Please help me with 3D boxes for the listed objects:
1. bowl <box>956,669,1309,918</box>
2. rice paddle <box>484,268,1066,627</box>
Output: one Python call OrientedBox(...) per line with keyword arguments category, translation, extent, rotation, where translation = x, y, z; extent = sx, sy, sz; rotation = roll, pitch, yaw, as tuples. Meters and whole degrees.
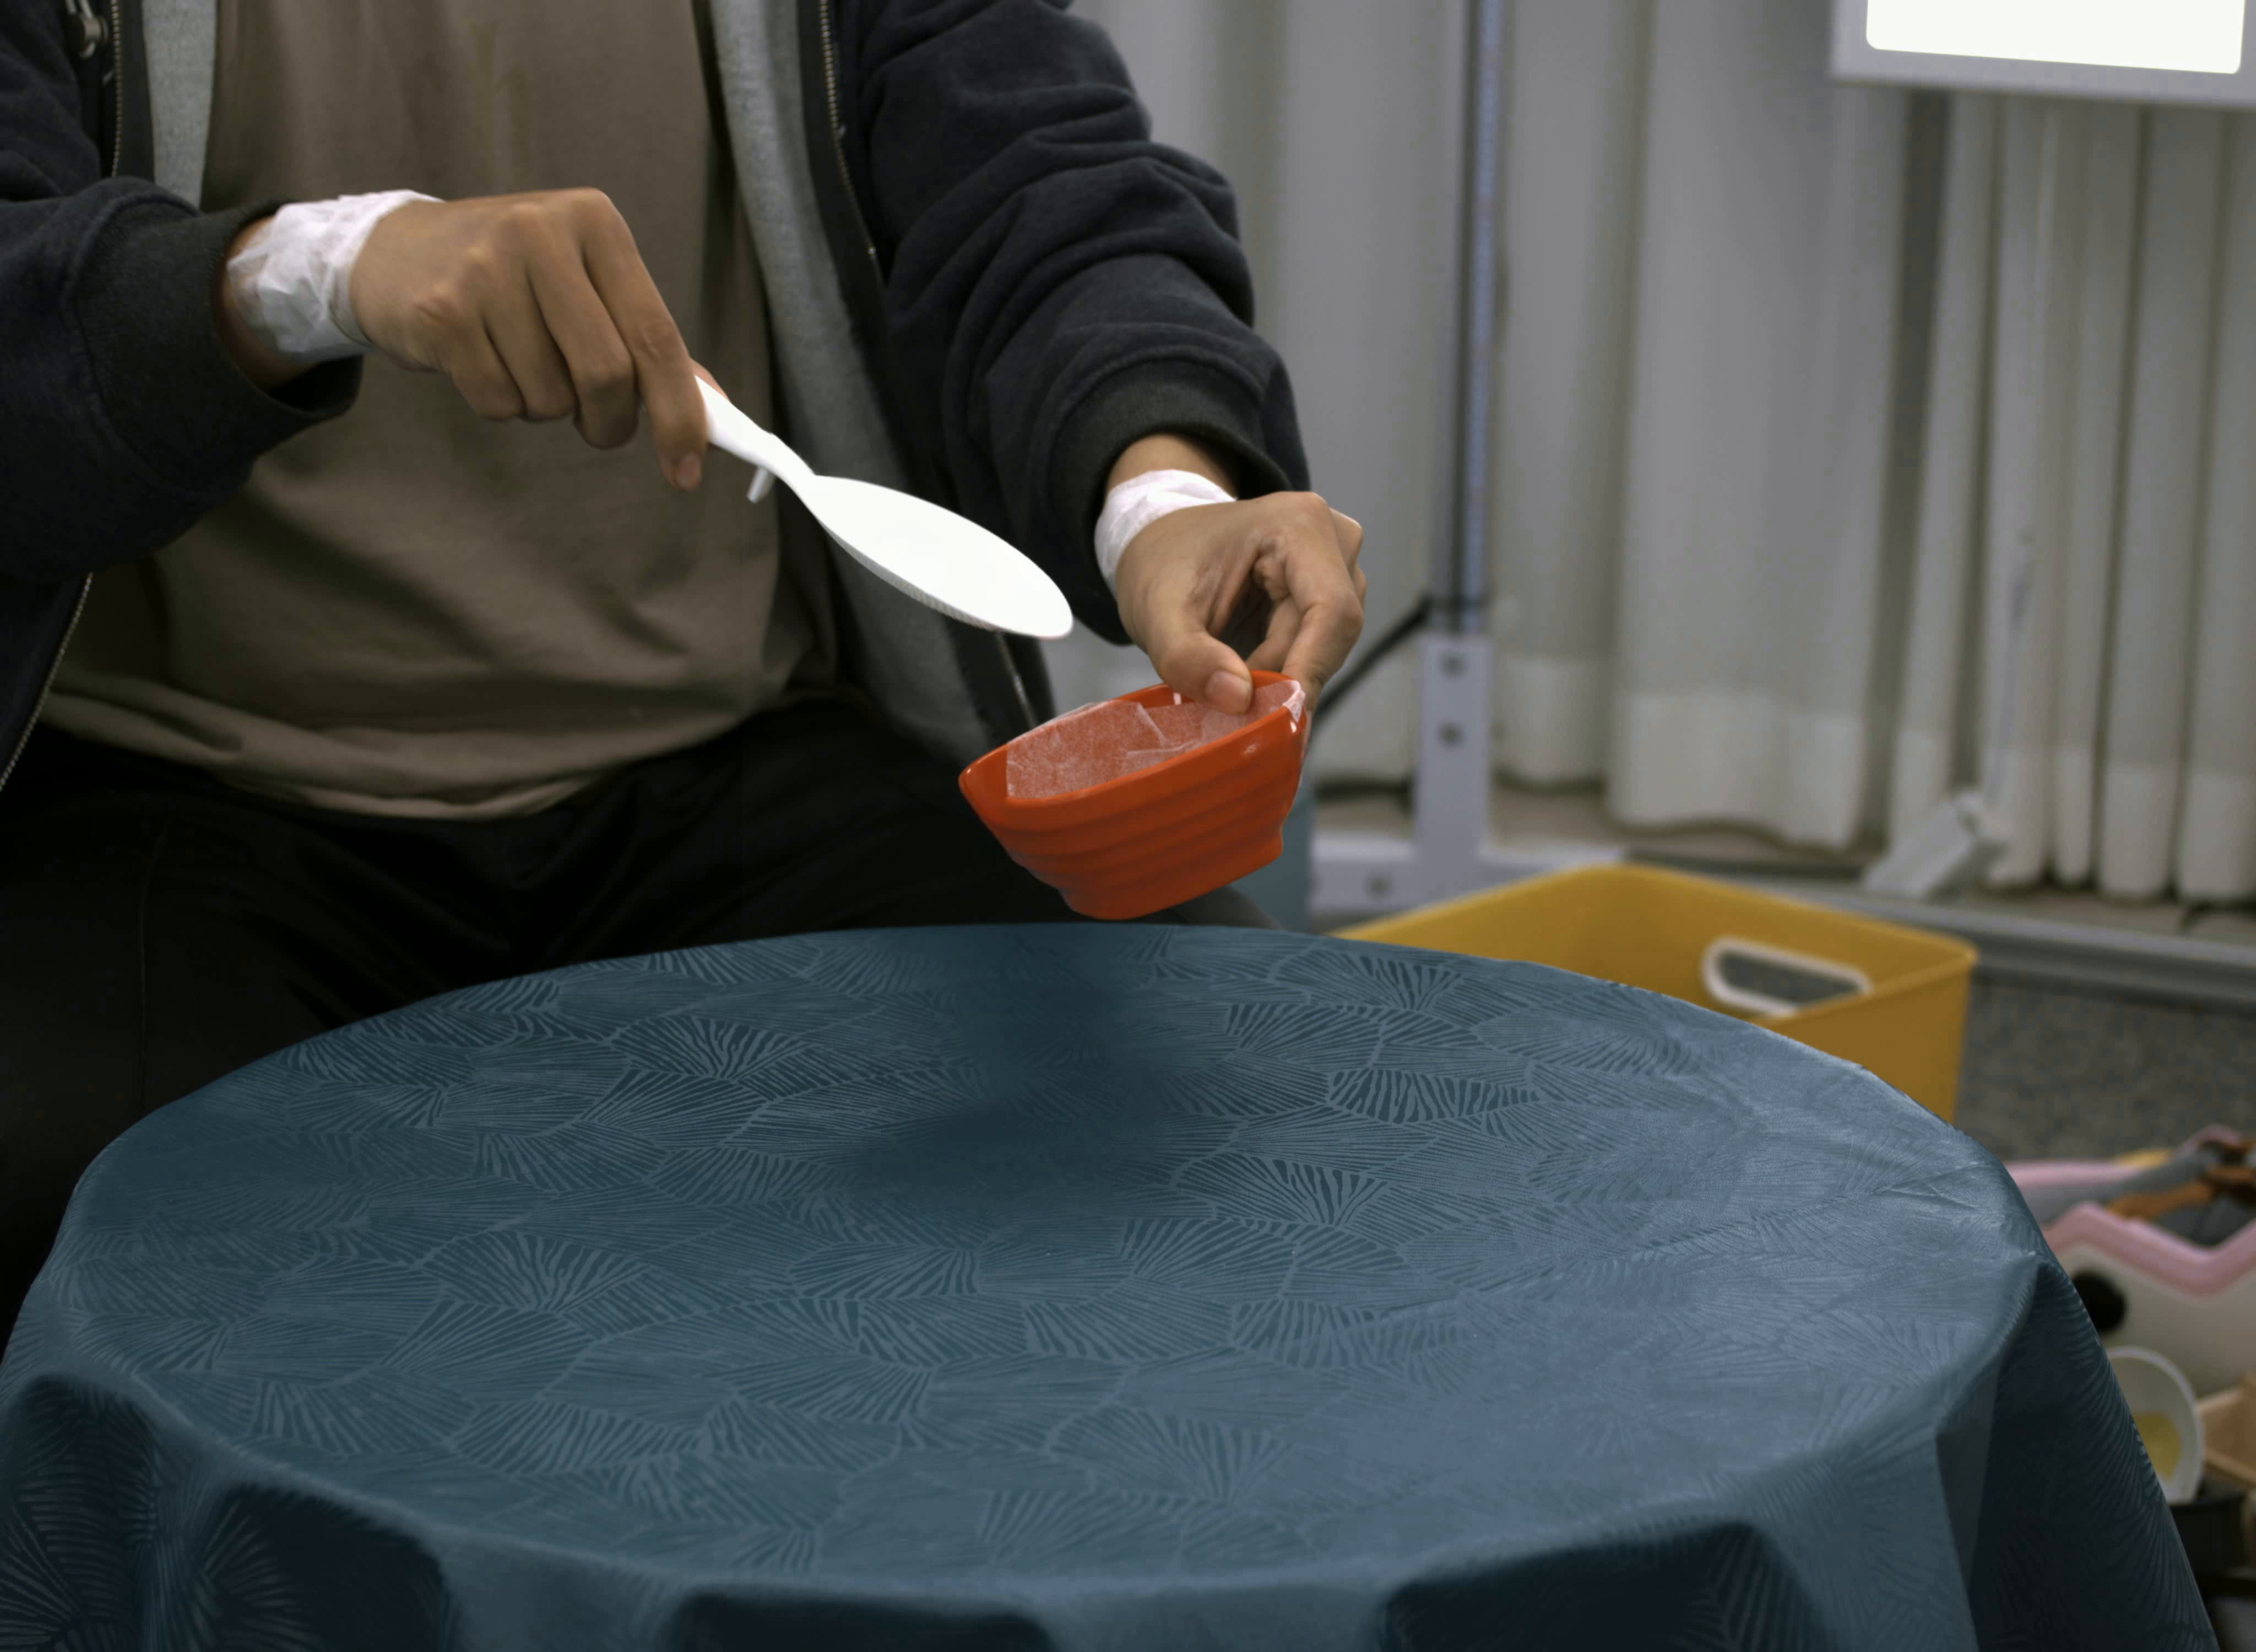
OrientedBox(category="bowl", translation=(0.007, -0.008, 1.678), extent=(0.118, 0.052, 0.118), rotation=(-16, 14, 5))
OrientedBox(category="rice paddle", translation=(-0.108, -0.116, 1.665), extent=(0.204, 0.029, 0.068), rotation=(29, 25, 4))
